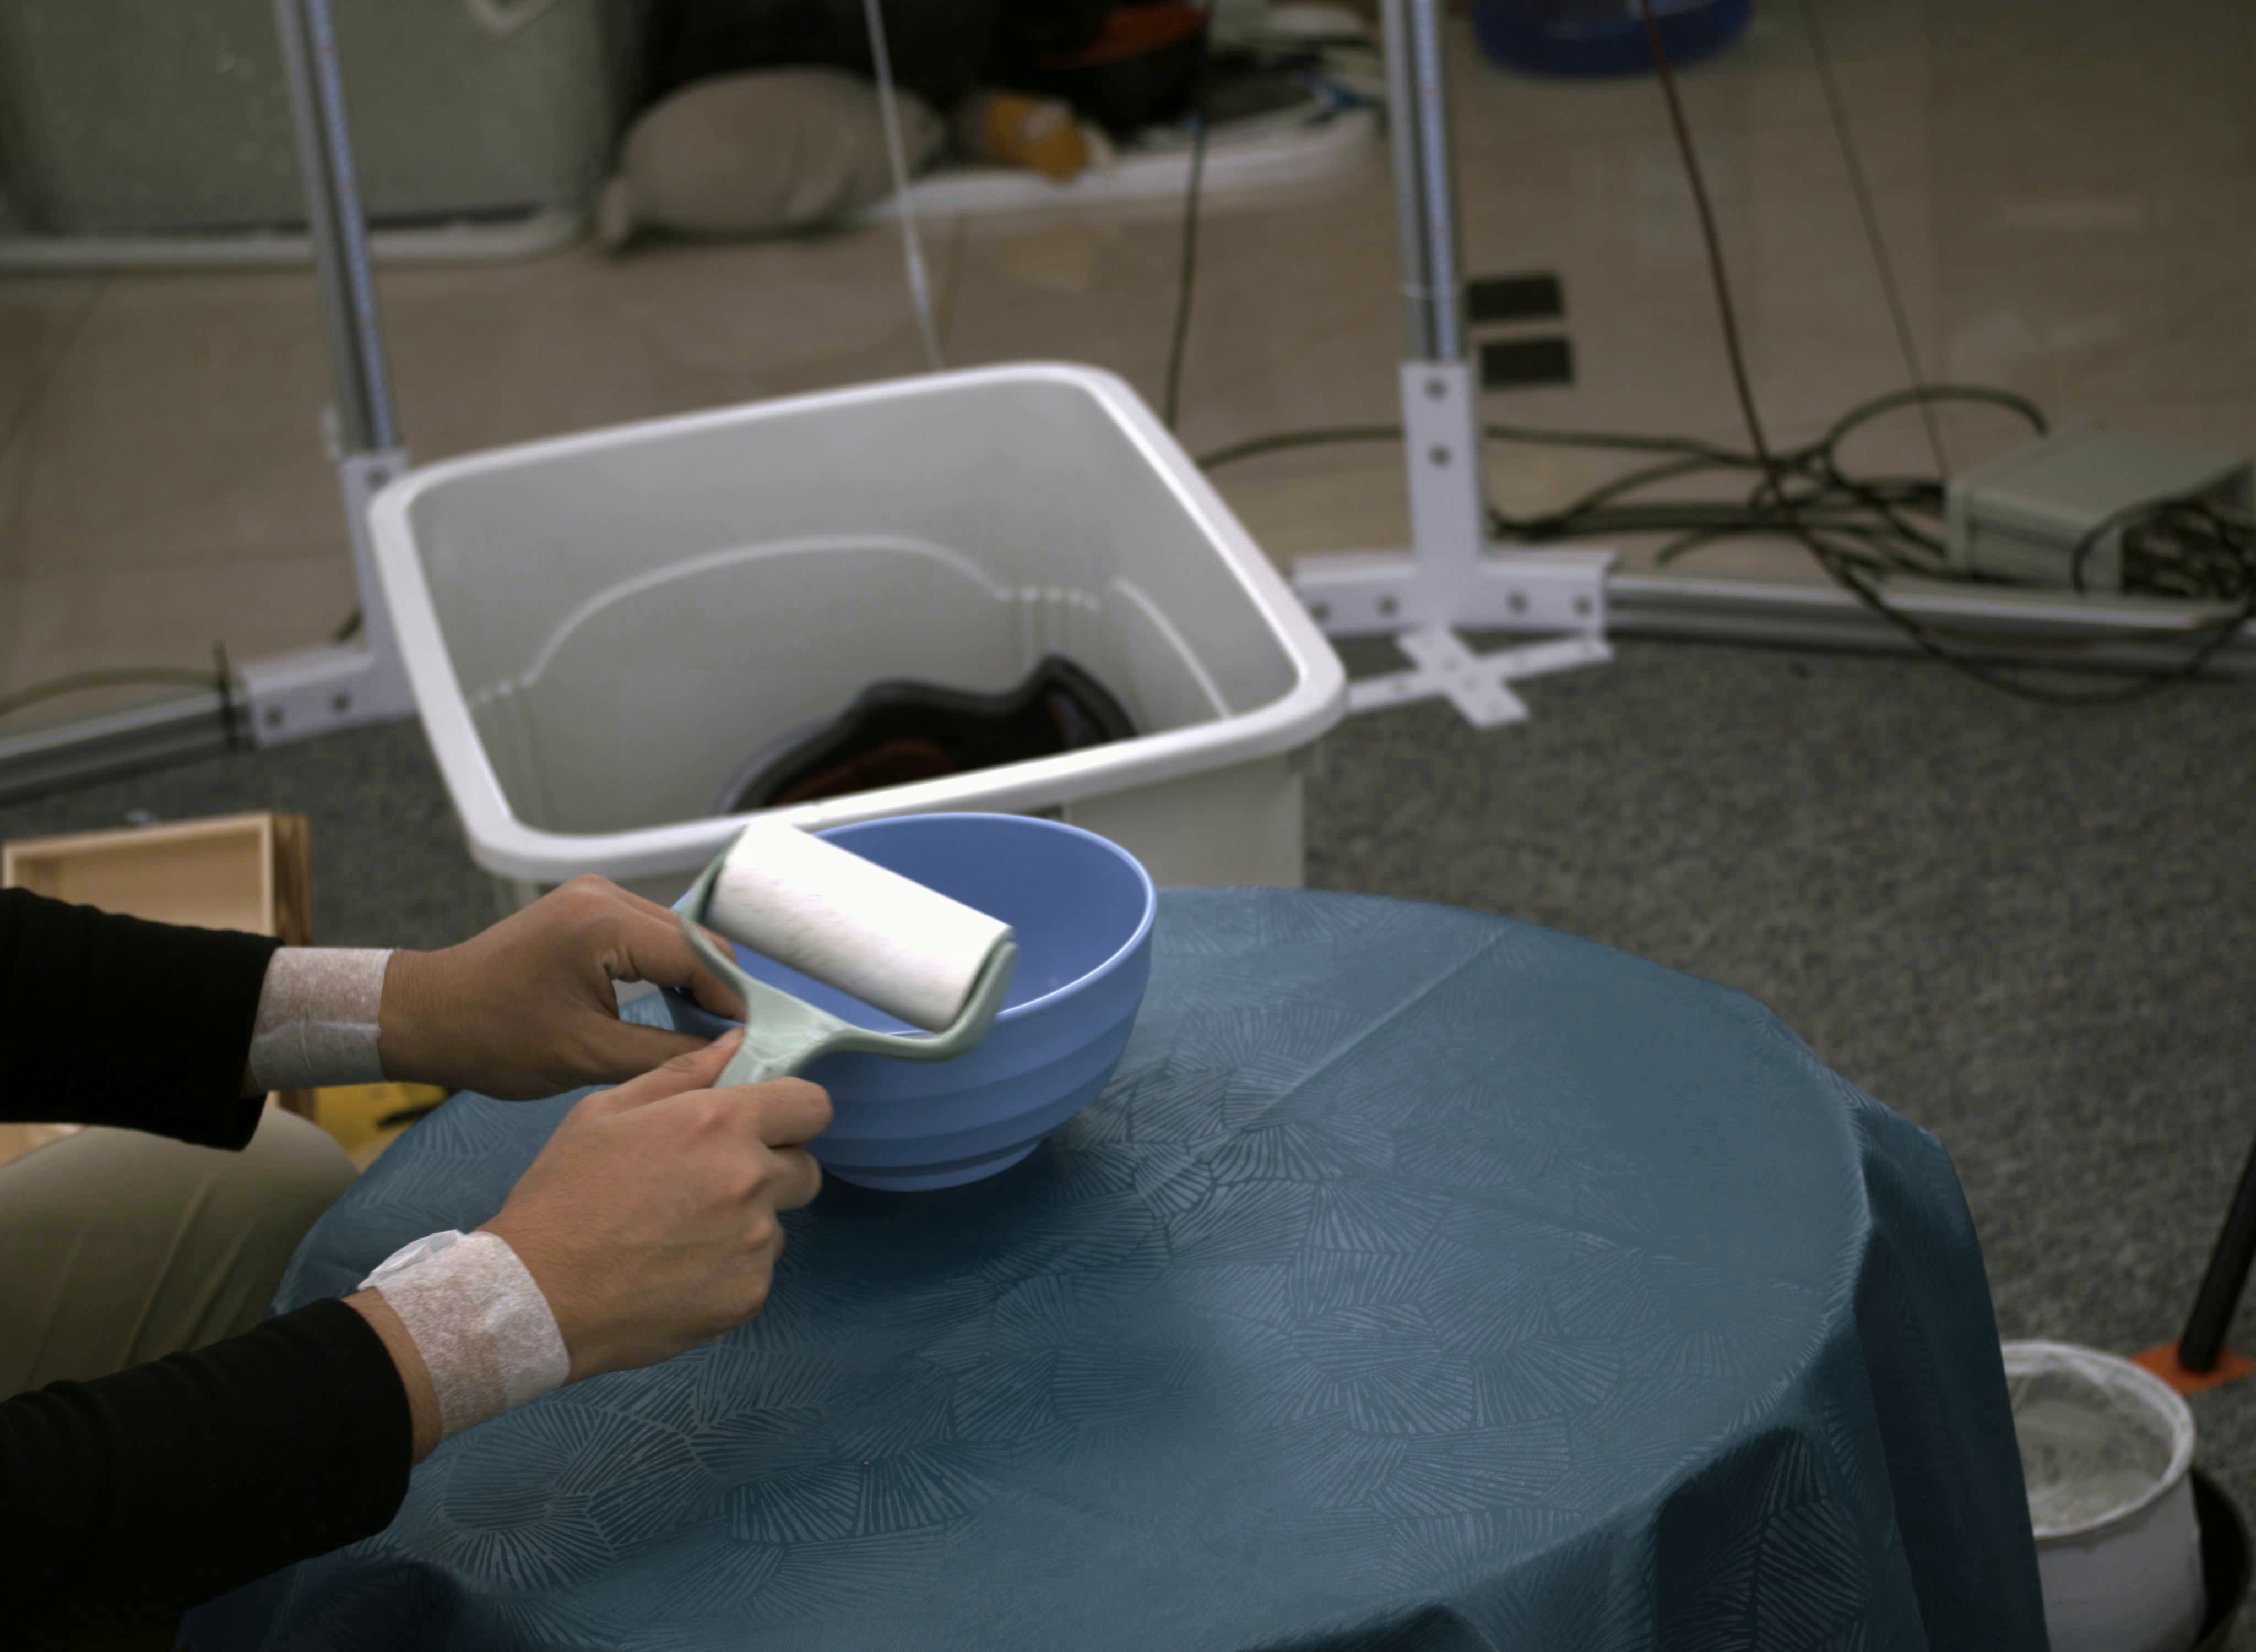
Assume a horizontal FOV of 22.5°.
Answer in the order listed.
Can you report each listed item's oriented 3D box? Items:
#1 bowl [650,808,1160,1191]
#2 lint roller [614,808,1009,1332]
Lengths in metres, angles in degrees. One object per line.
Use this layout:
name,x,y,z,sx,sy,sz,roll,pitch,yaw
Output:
bowl,-0.081,0.078,2.185,0.196,0.097,0.193,-4,26,2
lint roller,-0.132,0.089,2.003,0.116,0.049,0.195,26,62,9
